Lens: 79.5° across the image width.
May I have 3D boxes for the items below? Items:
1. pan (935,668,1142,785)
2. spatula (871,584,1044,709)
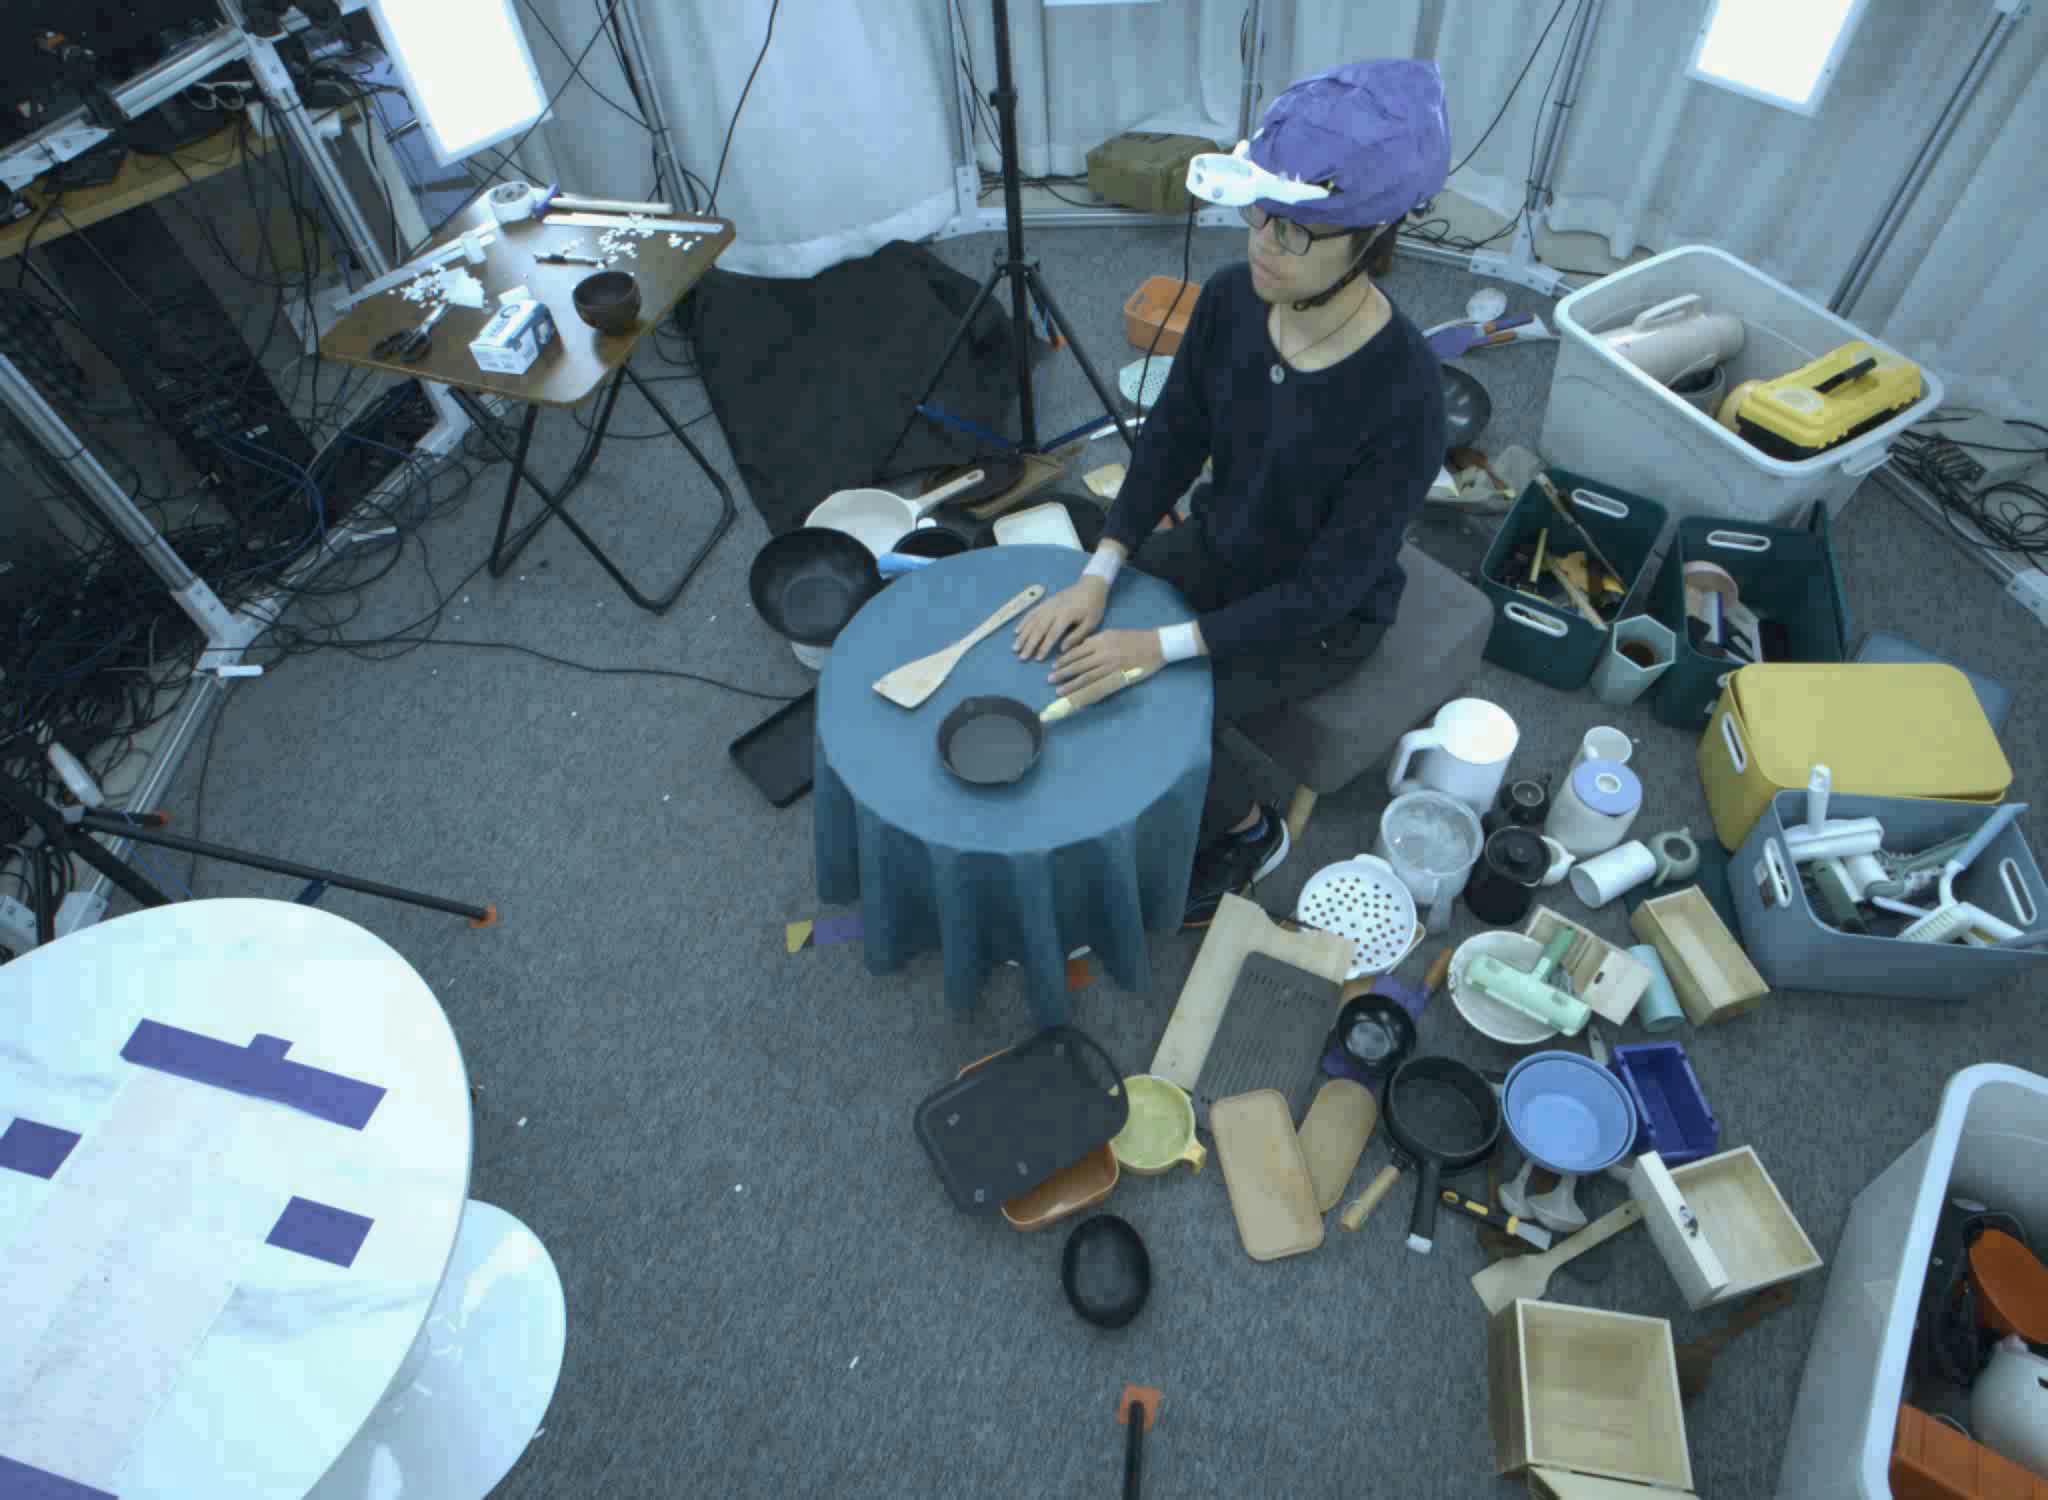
[{"bbox_3d":[0.028,-0.046,1.787,0.326,0.050,0.166,-23,57,-12],"label":"pan"},{"bbox_3d":[-0.089,-0.167,1.899,0.330,0.017,0.078,-39,63,-23],"label":"spatula"}]
